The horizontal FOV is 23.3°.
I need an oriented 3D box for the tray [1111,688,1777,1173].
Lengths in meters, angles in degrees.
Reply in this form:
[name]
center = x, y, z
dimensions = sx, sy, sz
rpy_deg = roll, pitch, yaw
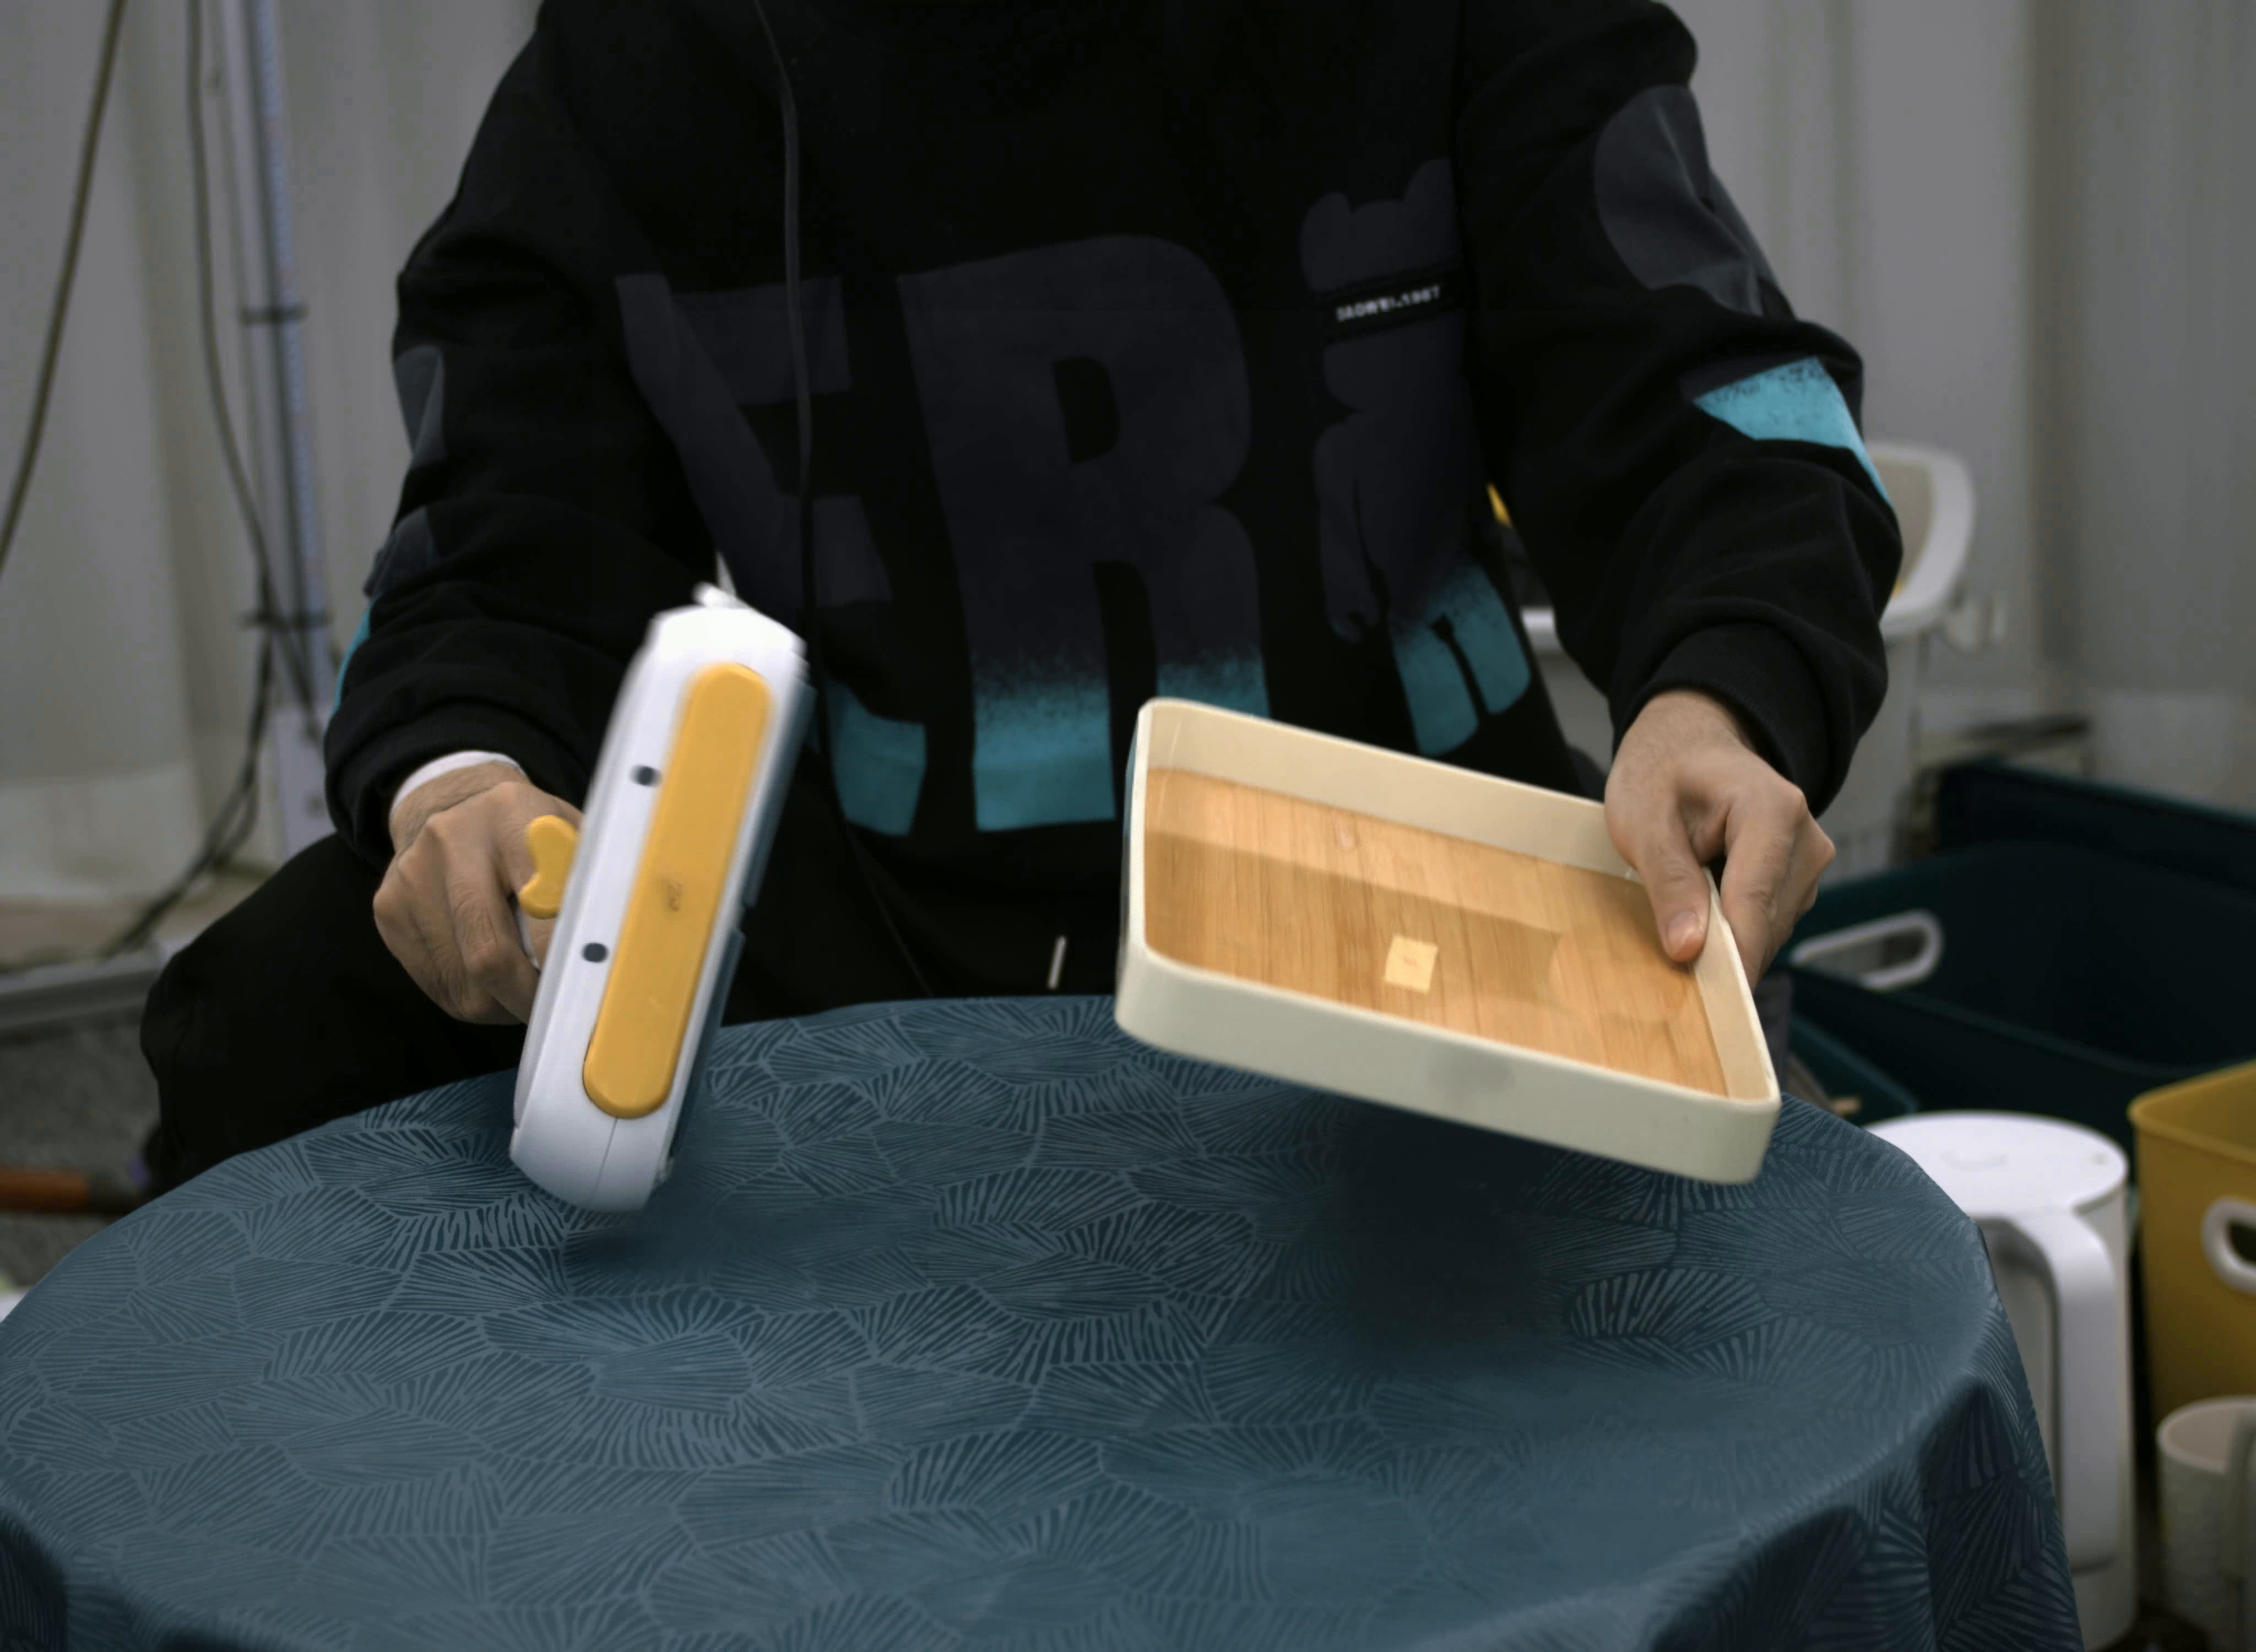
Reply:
[tray]
center = 0.091, 0.027, 1.661
dimensions = 0.191, 0.027, 0.302
rpy_deg = 15, 15, -2

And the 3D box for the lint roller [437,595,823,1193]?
[lint roller]
center = -0.169, 0.030, 1.749
dimensions = 0.073, 0.195, 0.192
rpy_deg = 18, -19, -17
